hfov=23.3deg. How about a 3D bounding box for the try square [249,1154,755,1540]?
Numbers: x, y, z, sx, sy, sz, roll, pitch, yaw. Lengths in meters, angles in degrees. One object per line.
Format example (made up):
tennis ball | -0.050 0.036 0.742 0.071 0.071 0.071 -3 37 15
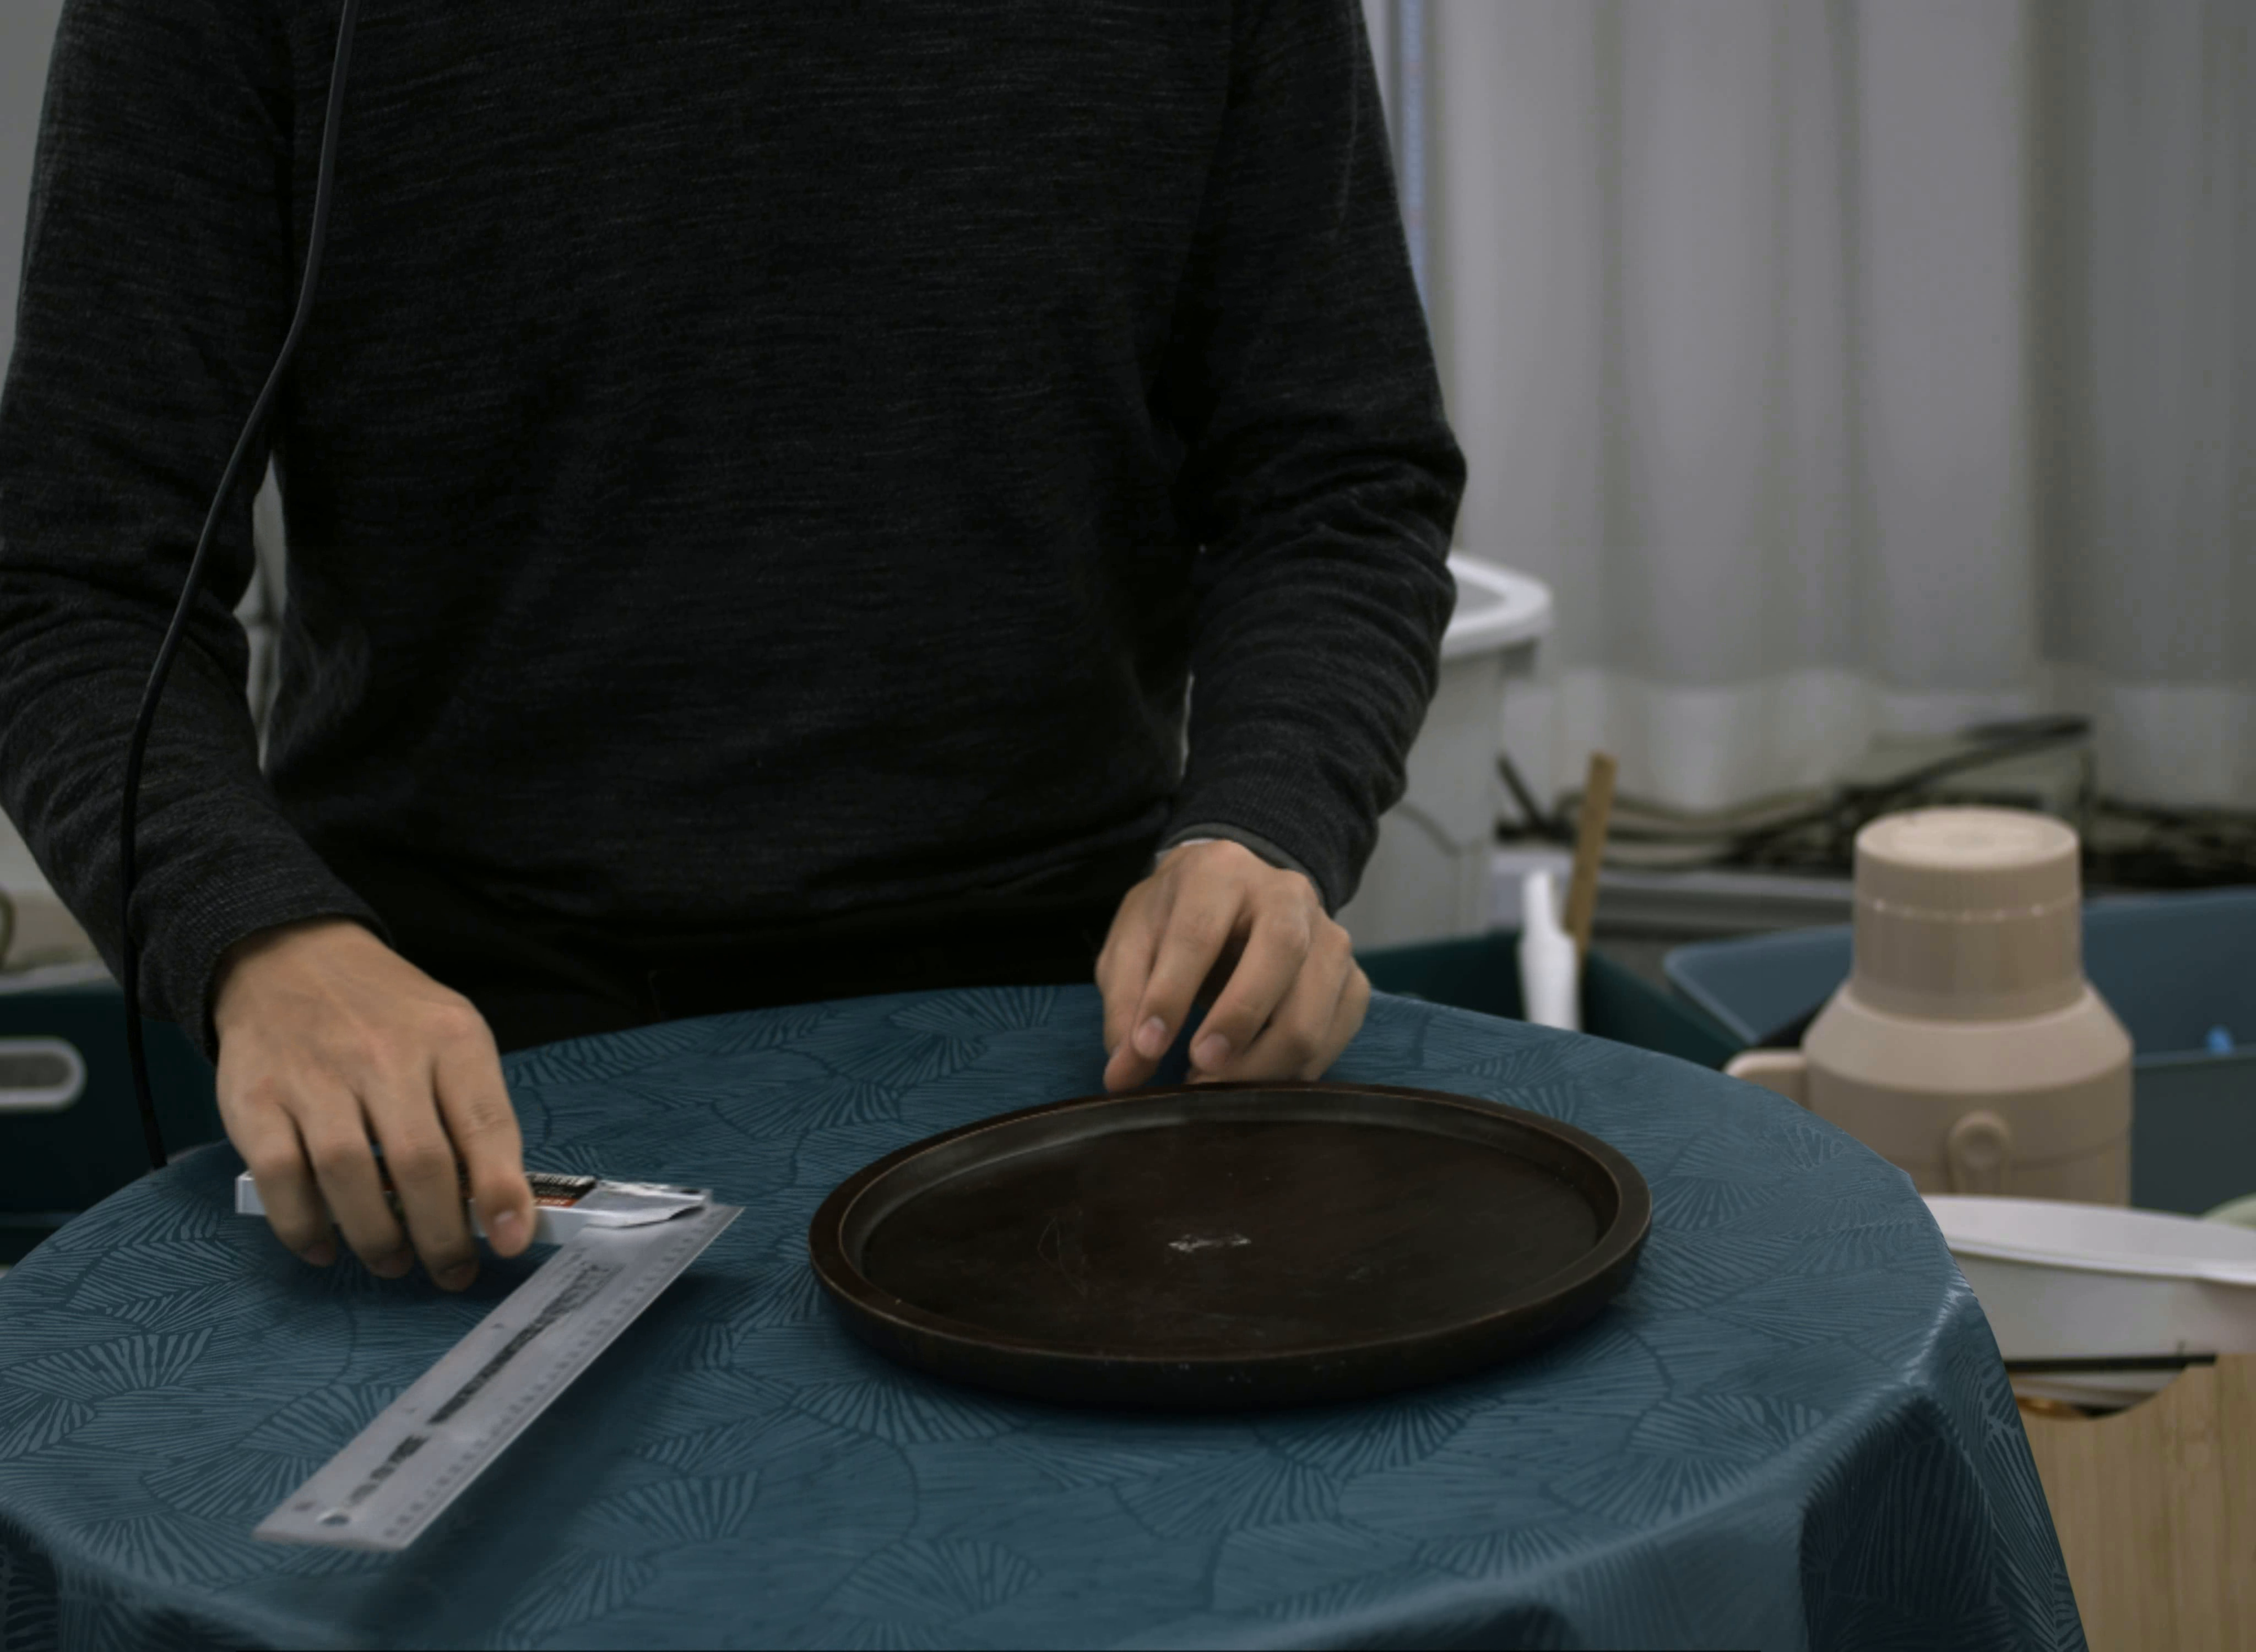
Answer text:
try square | -0.218 0.142 1.530 0.152 0.016 0.314 3 12 12

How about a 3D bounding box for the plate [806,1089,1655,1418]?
plate | 0.030 0.124 1.627 0.254 0.029 0.256 -3 16 1
